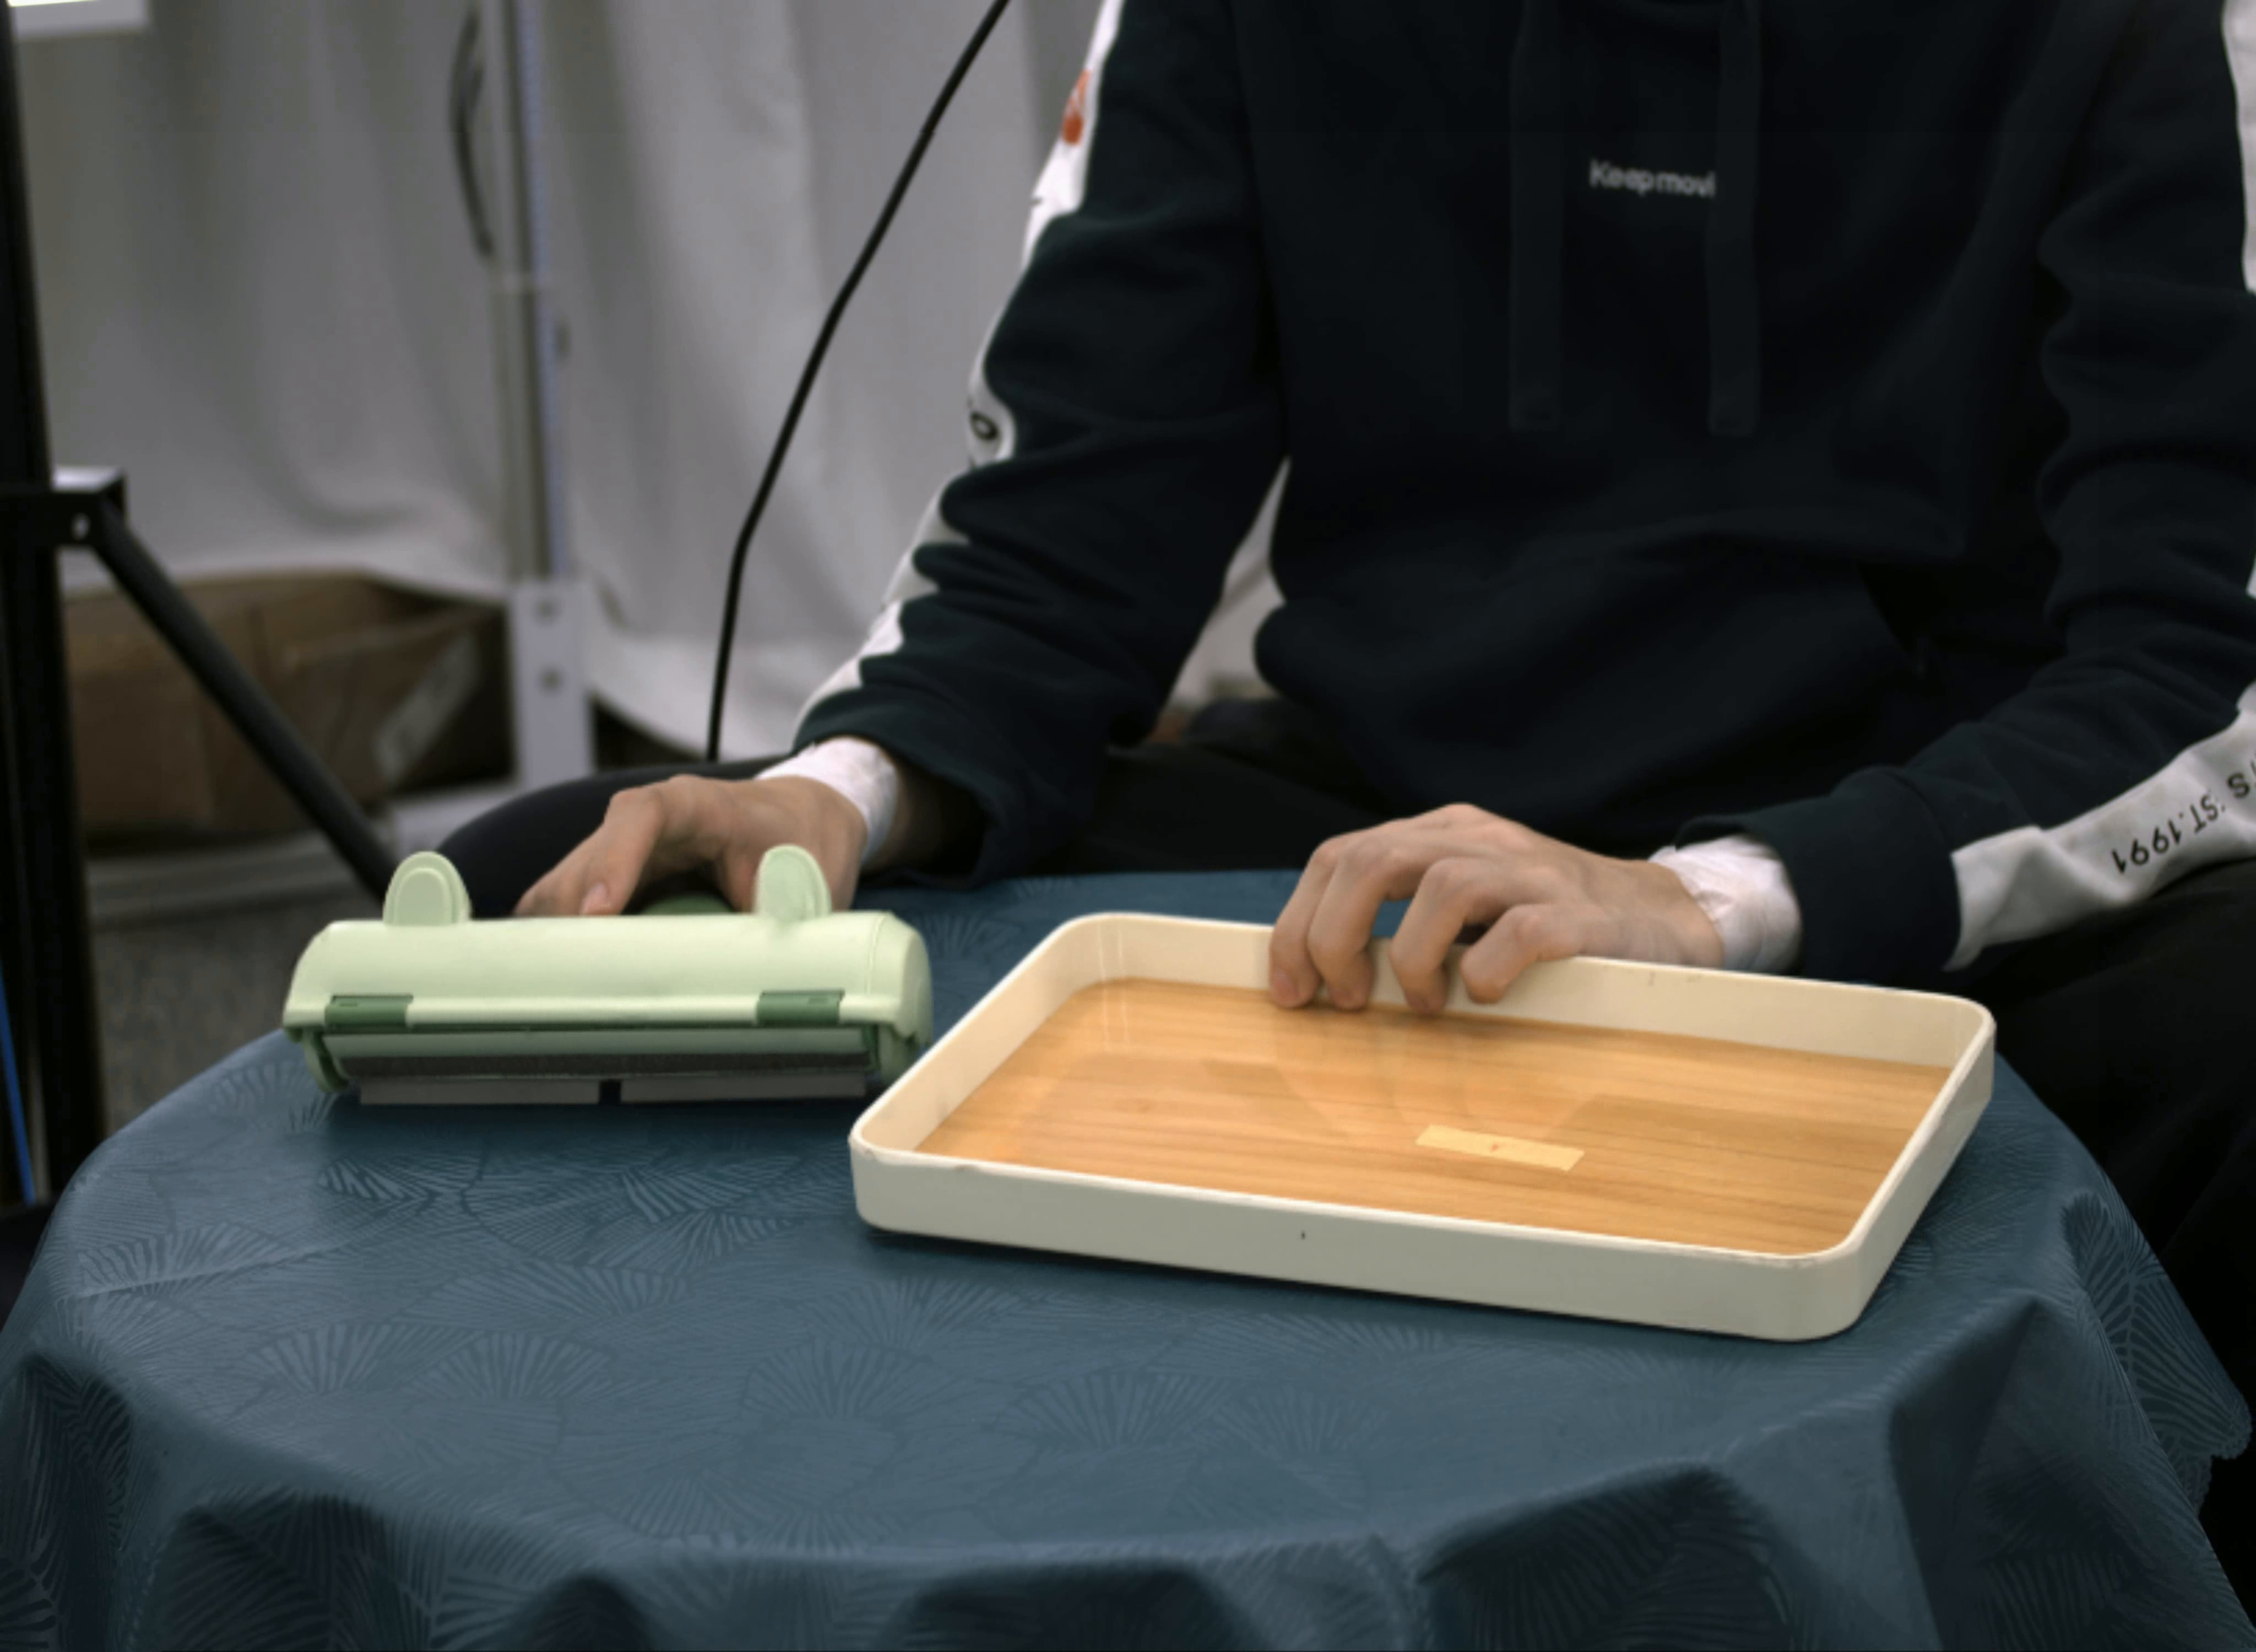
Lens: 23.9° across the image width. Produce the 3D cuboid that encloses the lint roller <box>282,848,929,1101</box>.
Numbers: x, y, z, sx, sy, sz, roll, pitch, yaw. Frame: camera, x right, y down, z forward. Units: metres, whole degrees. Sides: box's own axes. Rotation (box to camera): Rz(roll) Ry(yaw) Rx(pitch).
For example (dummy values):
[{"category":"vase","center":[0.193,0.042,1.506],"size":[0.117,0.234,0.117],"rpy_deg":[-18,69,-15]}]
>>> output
[{"category":"lint roller","center":[-0.153,0.031,1.708],"size":[0.199,0.082,0.183],"rpy_deg":[-1,20,12]}]

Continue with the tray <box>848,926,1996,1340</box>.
[{"category":"tray","center":[0.088,0.086,1.542],"size":[0.304,0.027,0.189],"rpy_deg":[5,22,23]}]
